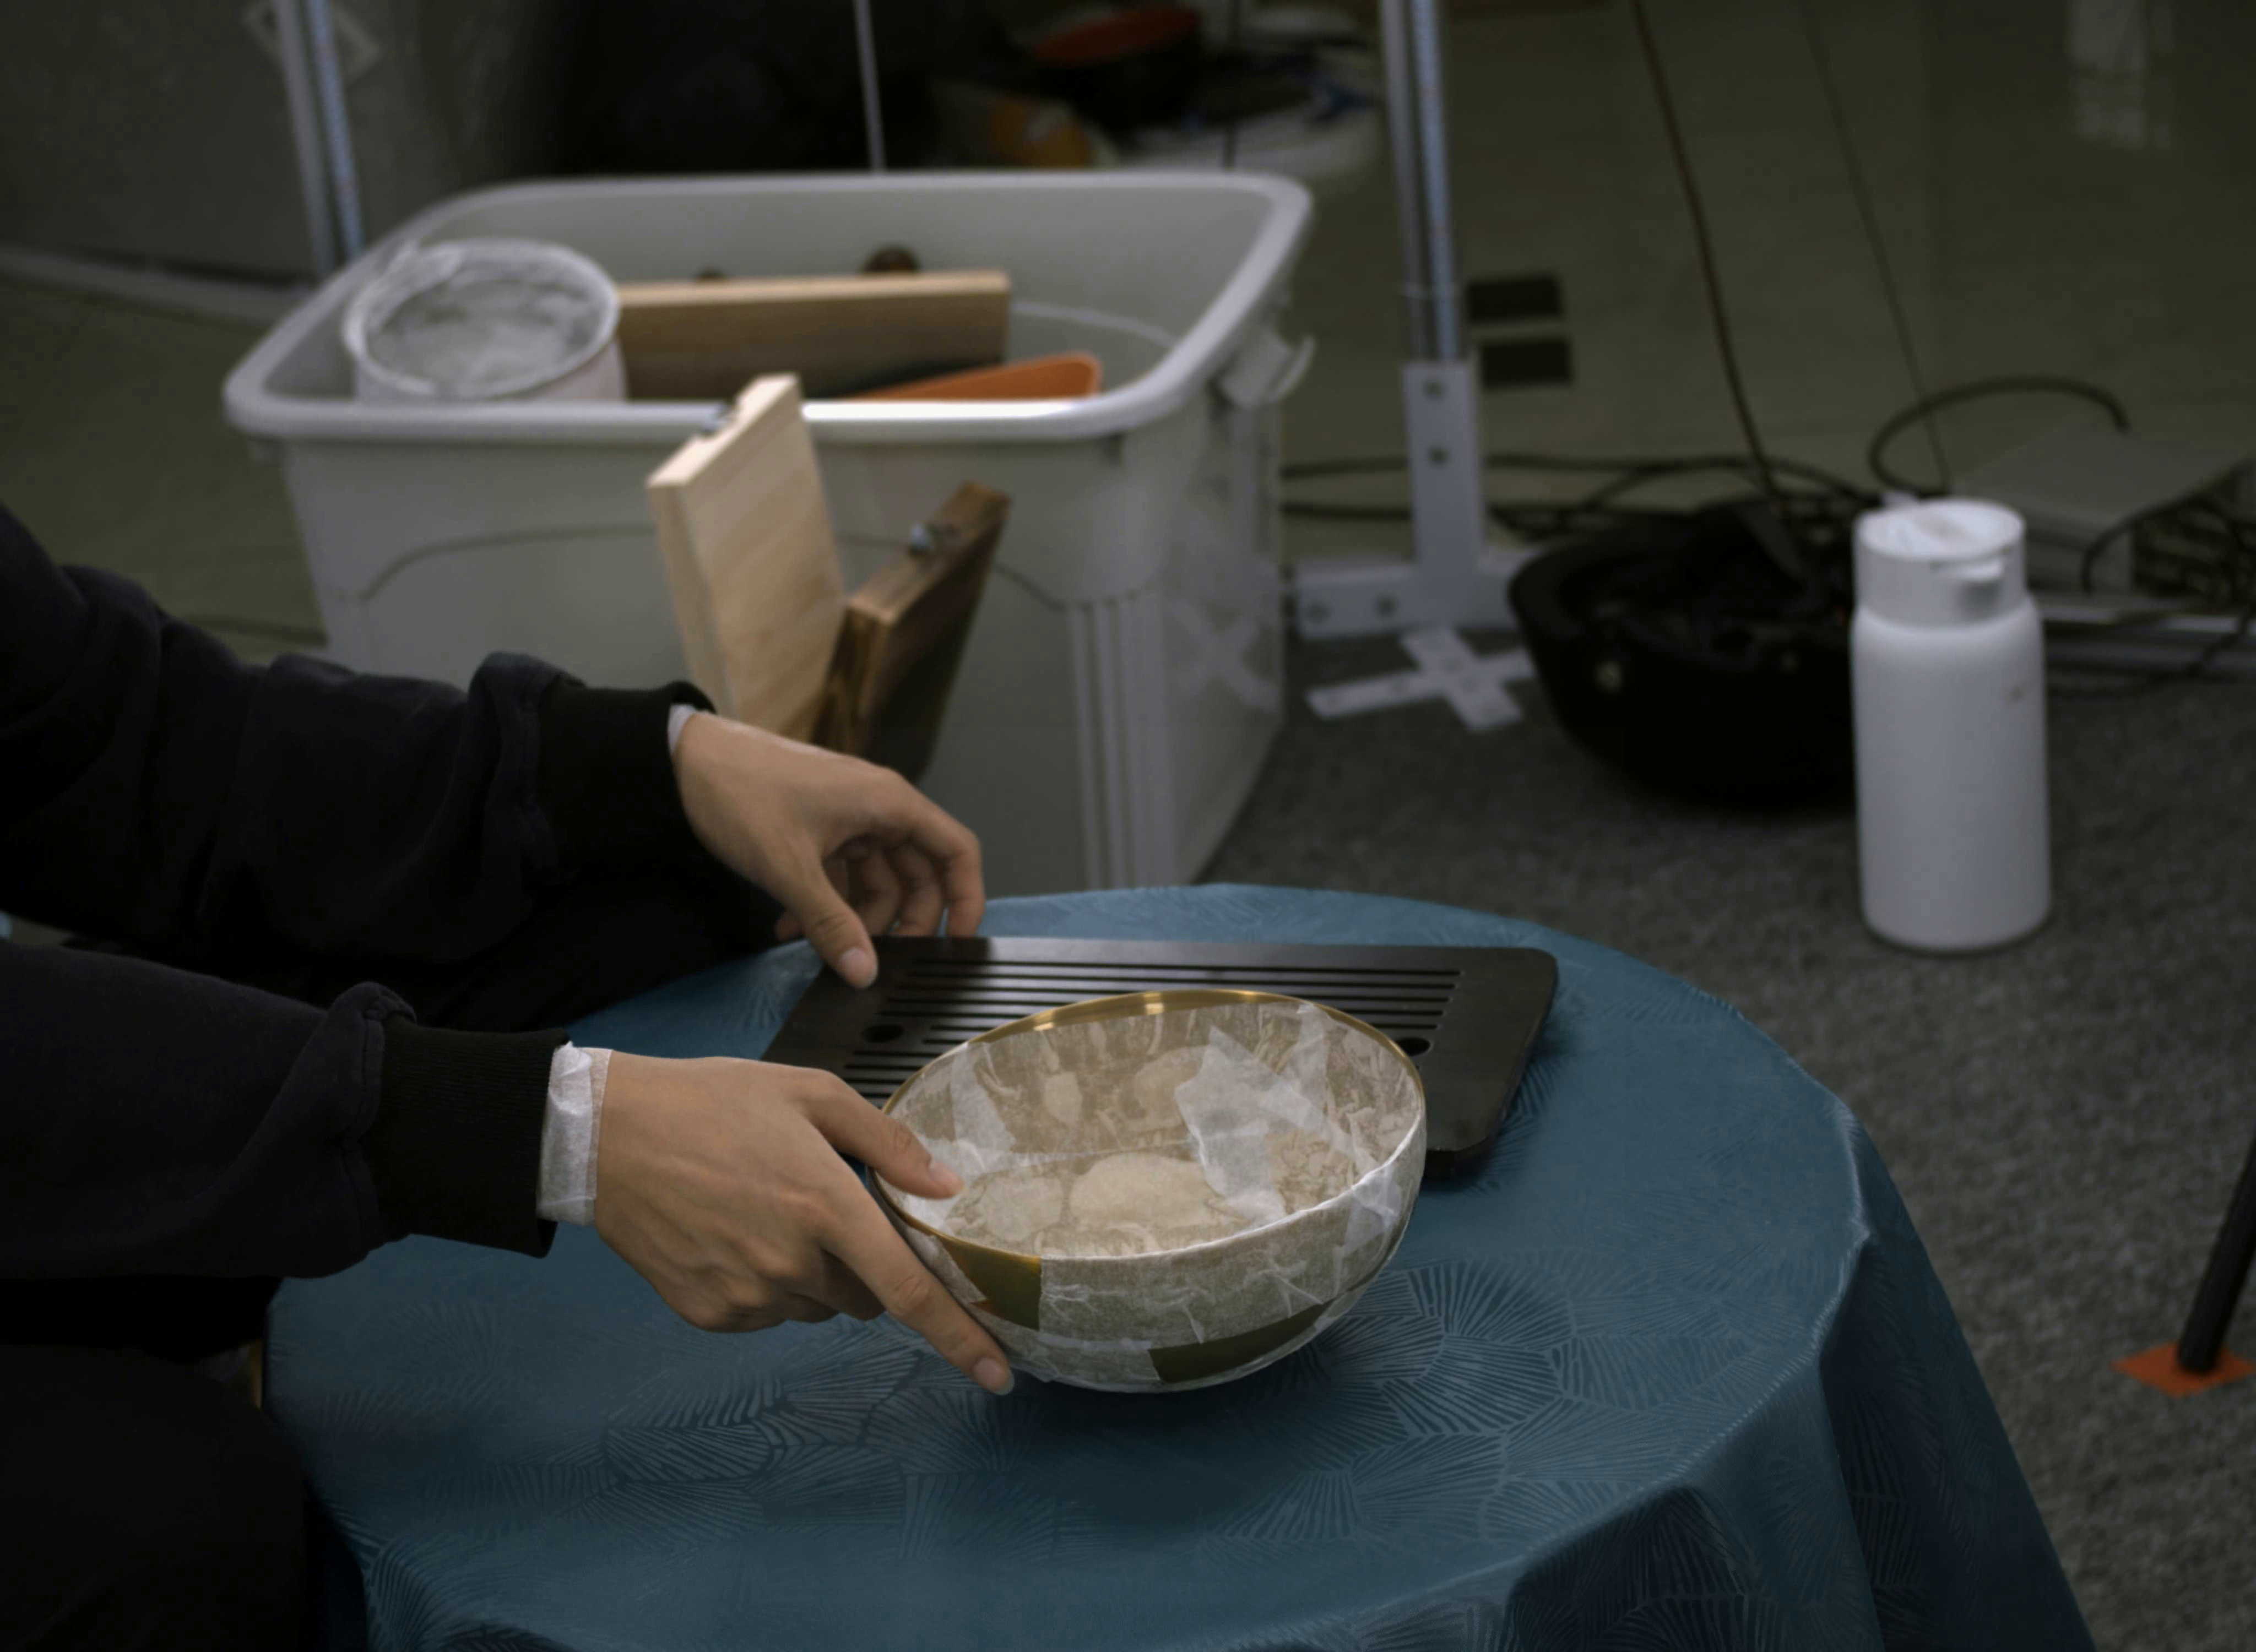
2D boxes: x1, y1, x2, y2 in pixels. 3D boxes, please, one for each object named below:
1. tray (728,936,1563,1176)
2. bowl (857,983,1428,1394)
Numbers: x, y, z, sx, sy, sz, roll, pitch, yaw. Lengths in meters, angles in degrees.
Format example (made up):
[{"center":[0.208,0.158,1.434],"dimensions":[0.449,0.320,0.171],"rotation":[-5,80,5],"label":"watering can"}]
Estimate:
[{"center":[0.009,0.090,2.235],"dimensions":[0.305,0.019,0.168],"rotation":[1,26,16],"label":"tray"},{"center":[0.011,0.141,2.034],"dimensions":[0.214,0.096,0.211],"rotation":[-6,26,3],"label":"bowl"}]
